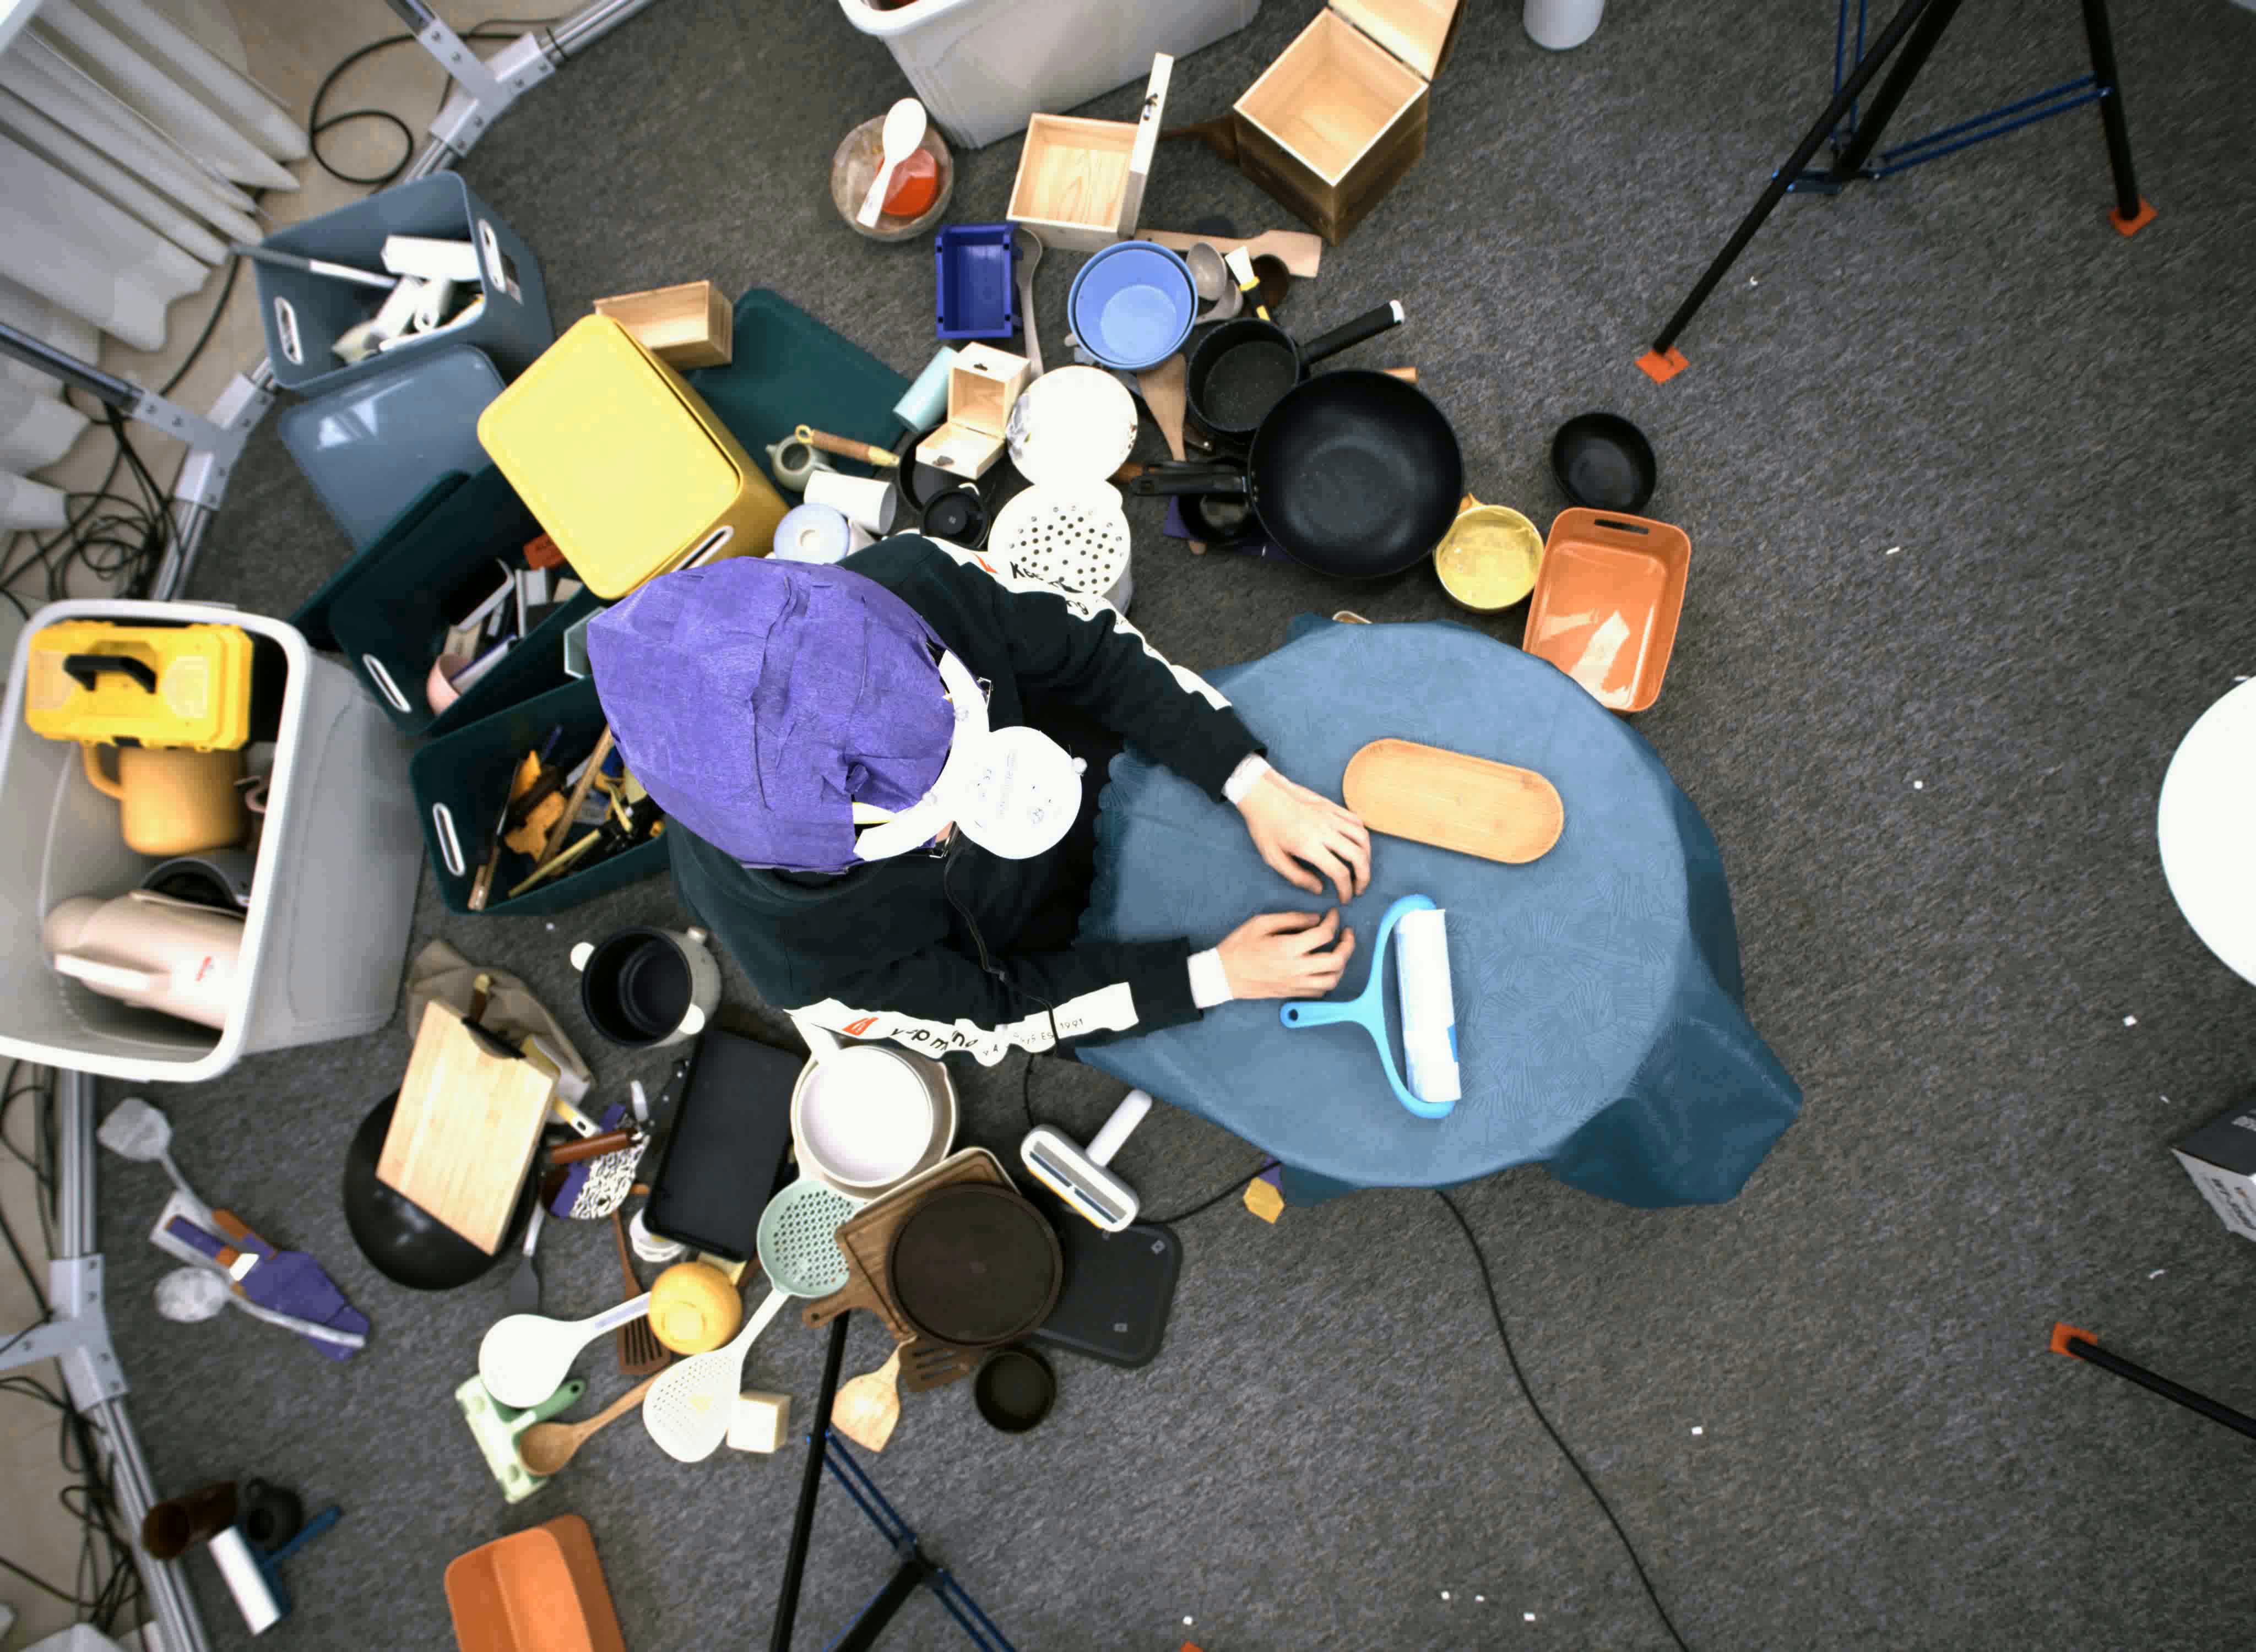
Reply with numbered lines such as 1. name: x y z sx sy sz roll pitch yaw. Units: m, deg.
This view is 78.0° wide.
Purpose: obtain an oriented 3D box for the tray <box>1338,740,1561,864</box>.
1. tray: 0.335 -0.027 1.440 0.231 0.020 0.101 13 88 12

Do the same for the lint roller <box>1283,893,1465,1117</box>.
1. lint roller: 0.249 0.189 1.424 0.181 0.068 0.228 -8 87 9
